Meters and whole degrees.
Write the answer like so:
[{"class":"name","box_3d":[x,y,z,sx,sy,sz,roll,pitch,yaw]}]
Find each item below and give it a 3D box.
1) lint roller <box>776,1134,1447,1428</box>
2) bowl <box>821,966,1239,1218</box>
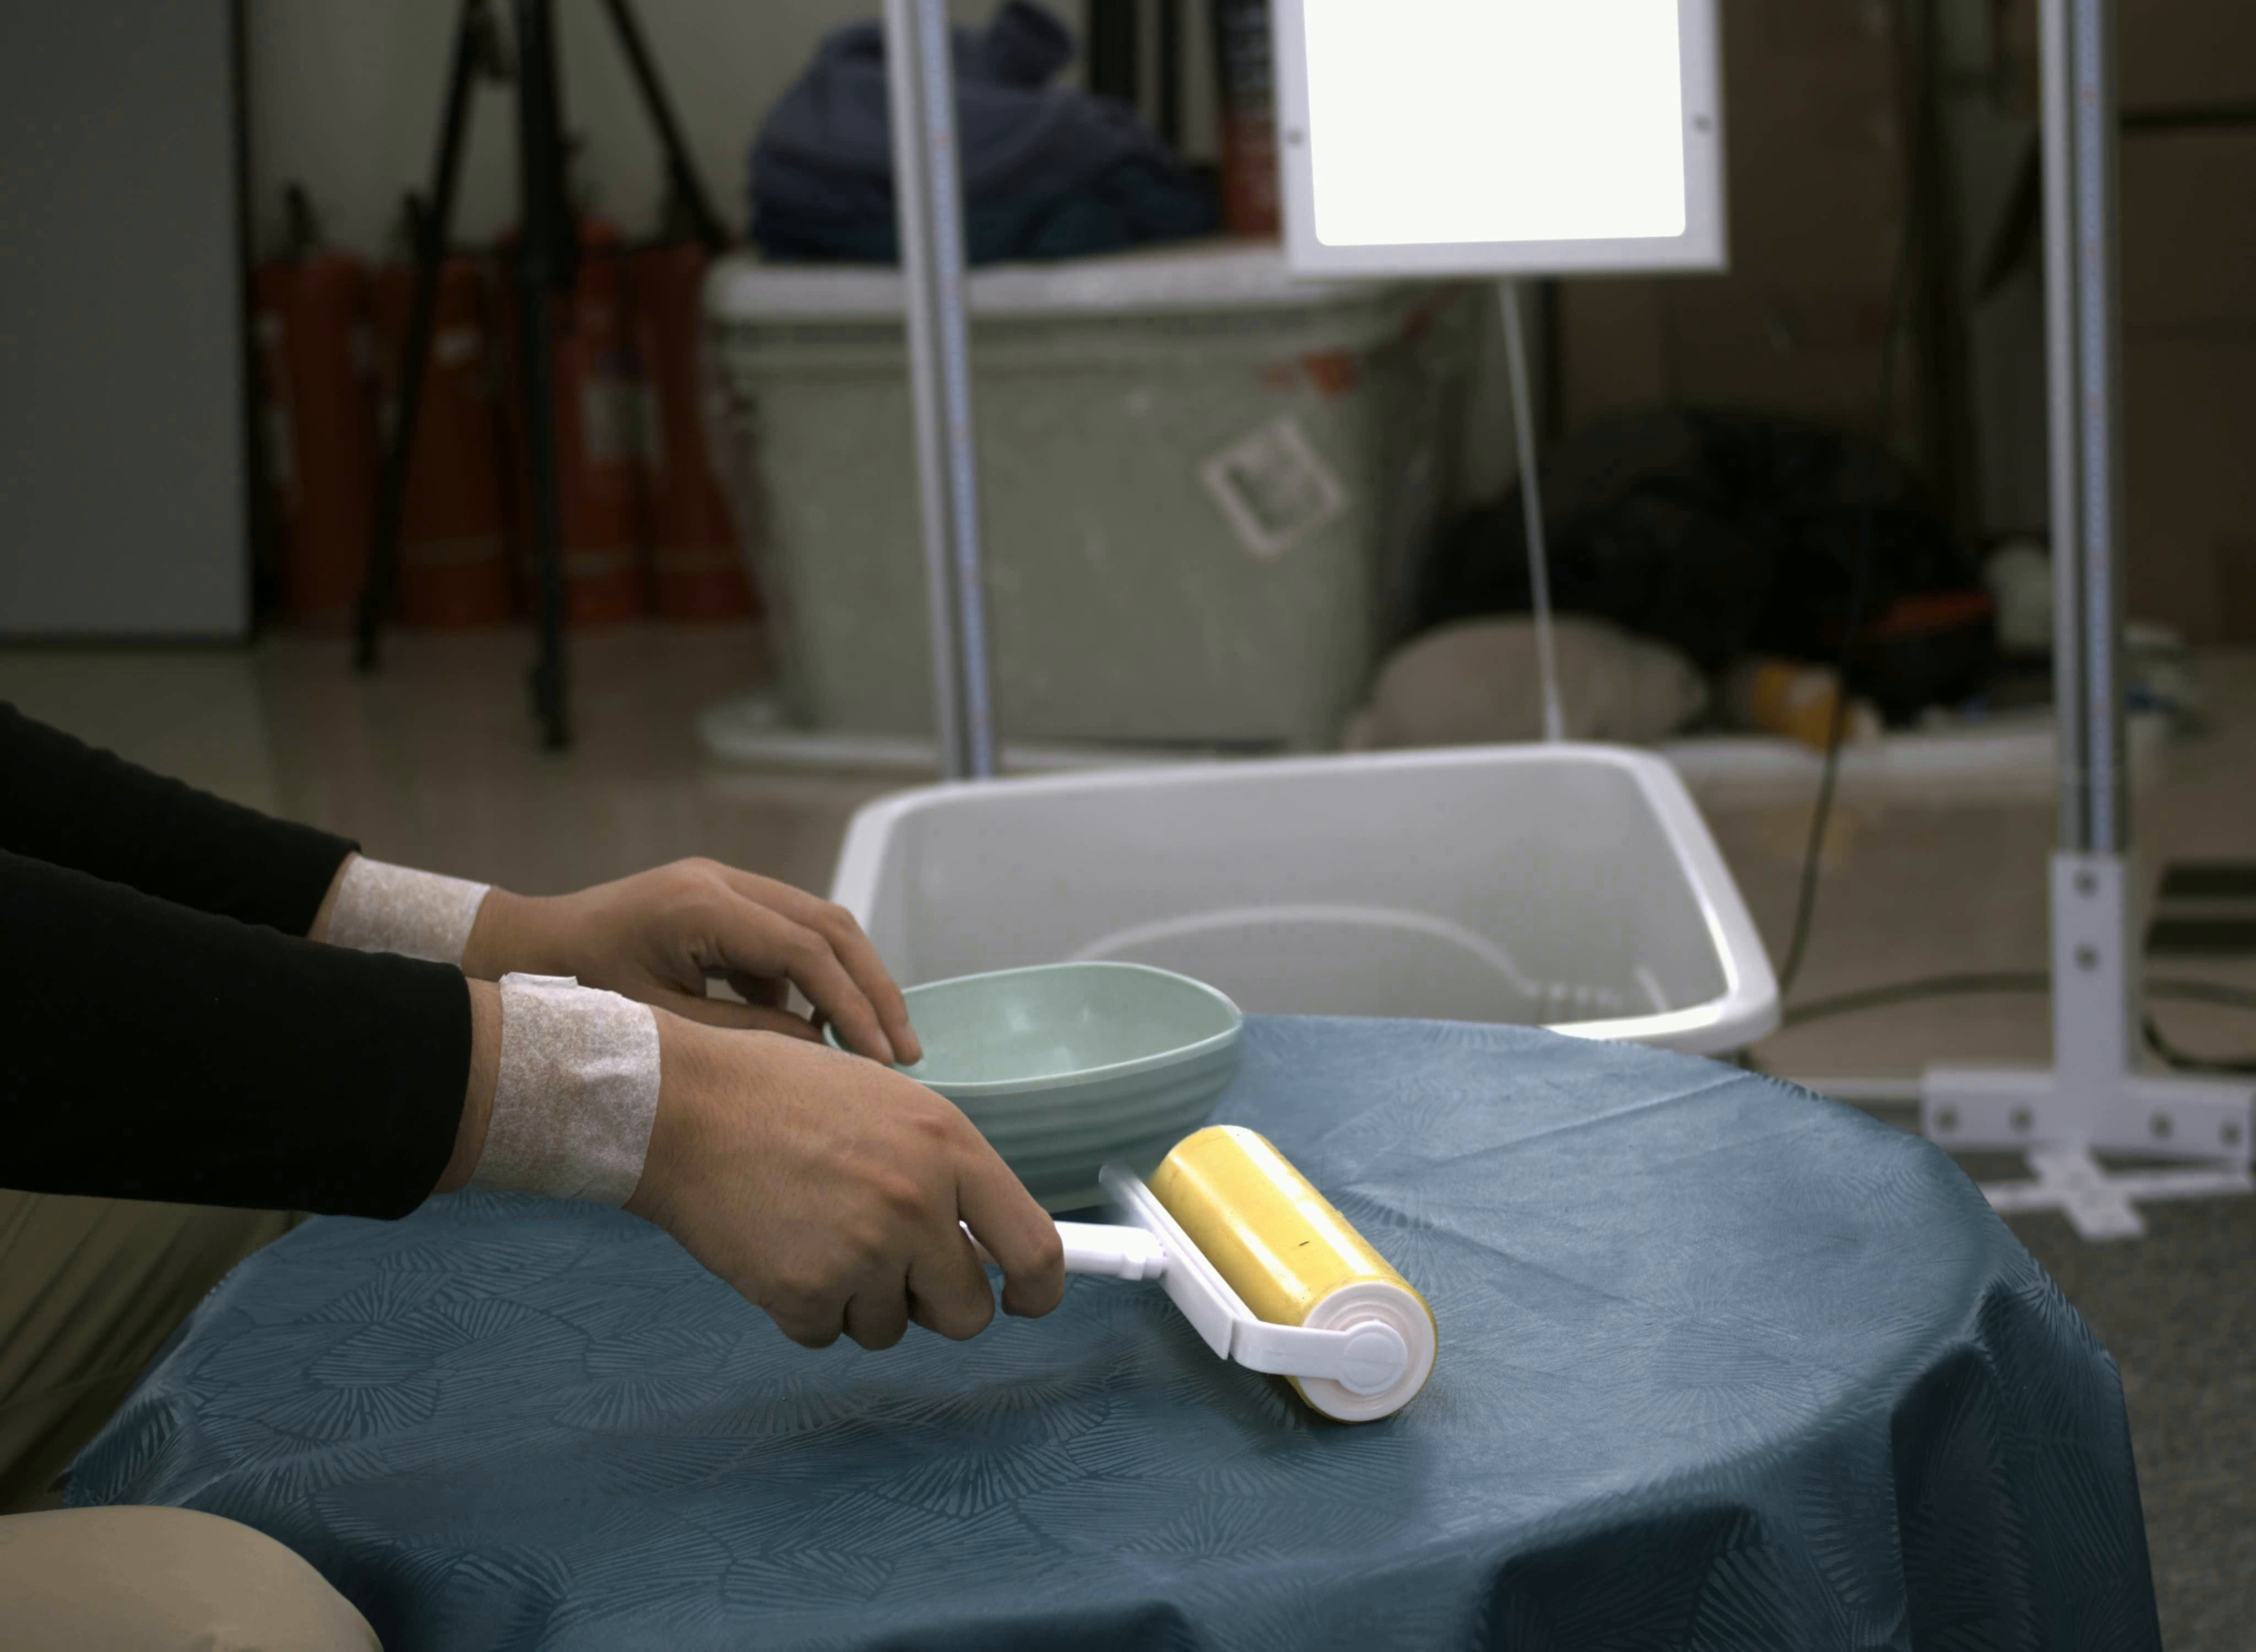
[{"class":"lint roller","box_3d":[-0.013,0.123,1.703,0.189,0.052,0.176,17,9,-19]},{"class":"bowl","box_3d":[-0.033,0.096,1.916,0.151,0.059,0.151,-3,14,-1]}]
